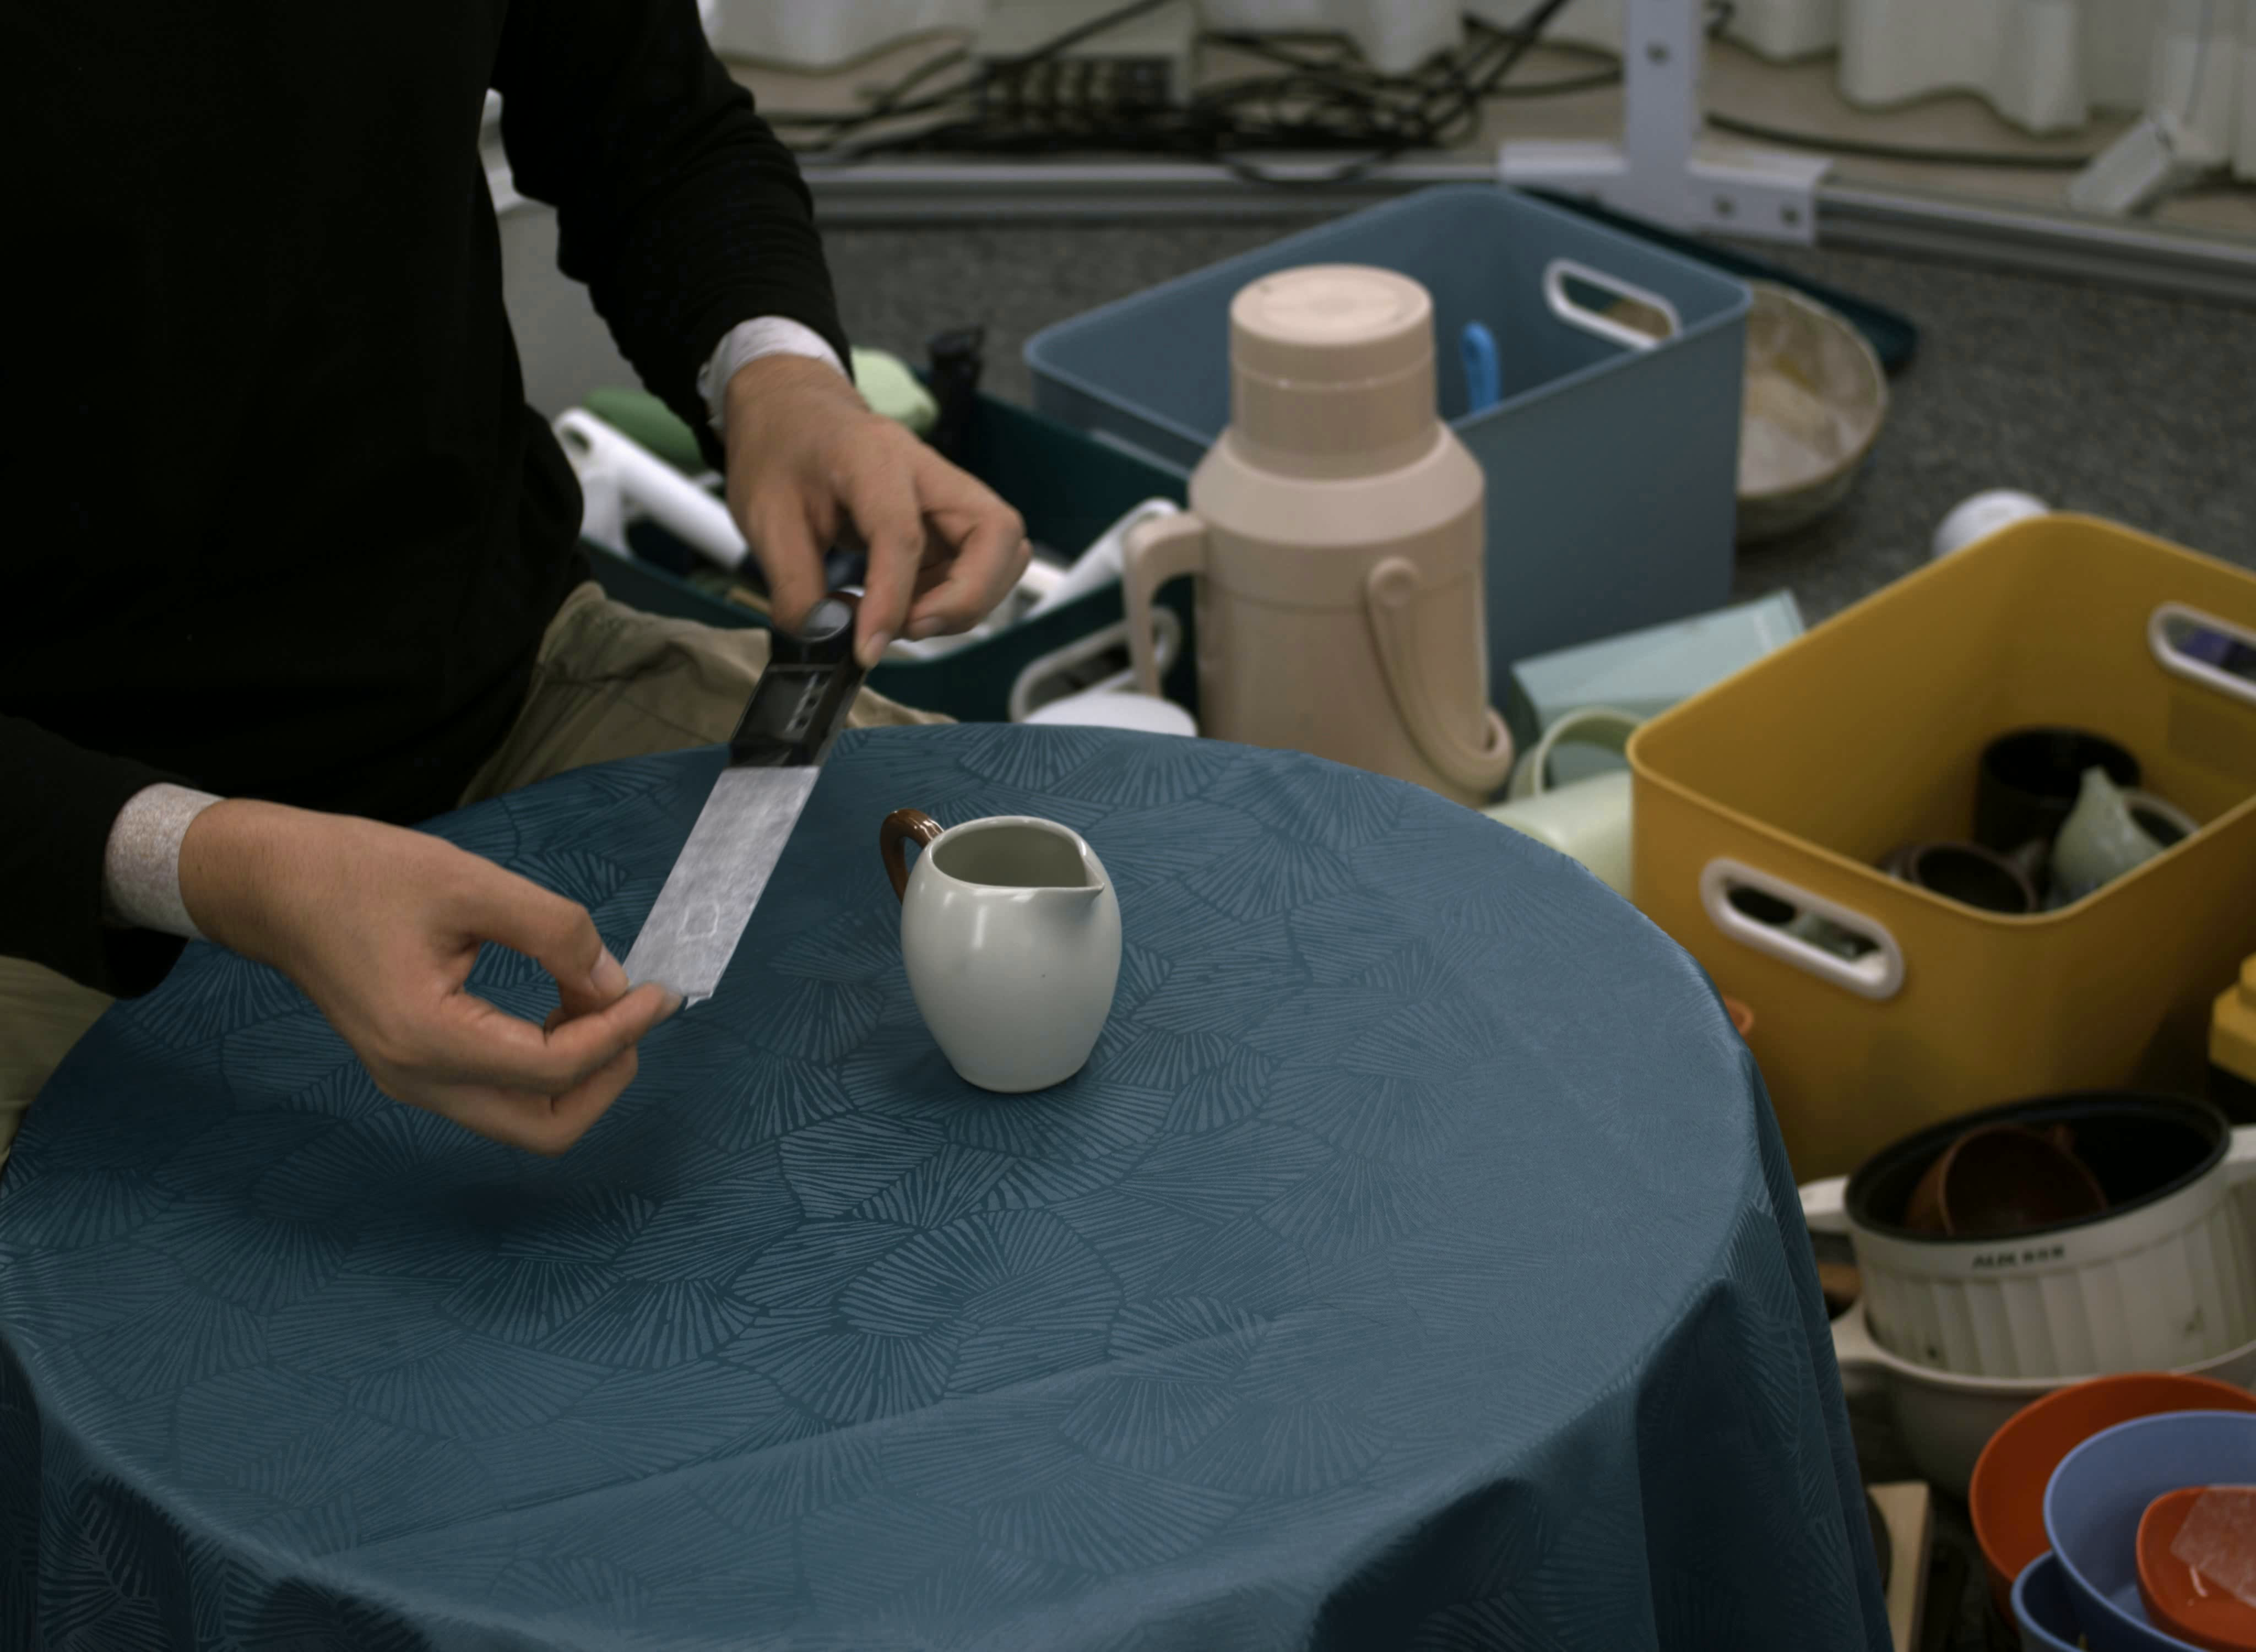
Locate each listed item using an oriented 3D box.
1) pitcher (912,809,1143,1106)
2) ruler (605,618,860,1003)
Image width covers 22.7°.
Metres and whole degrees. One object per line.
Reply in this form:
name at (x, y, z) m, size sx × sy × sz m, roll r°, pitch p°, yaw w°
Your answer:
pitcher at (-0.038, 0.044, 1.922) m, size 0.076 × 0.087 × 0.119 m, roll -18°, pitch 31°, yaw -34°
ruler at (-0.134, -0.008, 1.925) m, size 0.038 × 0.024 × 0.222 m, roll -8°, pitch 29°, yaw 18°
